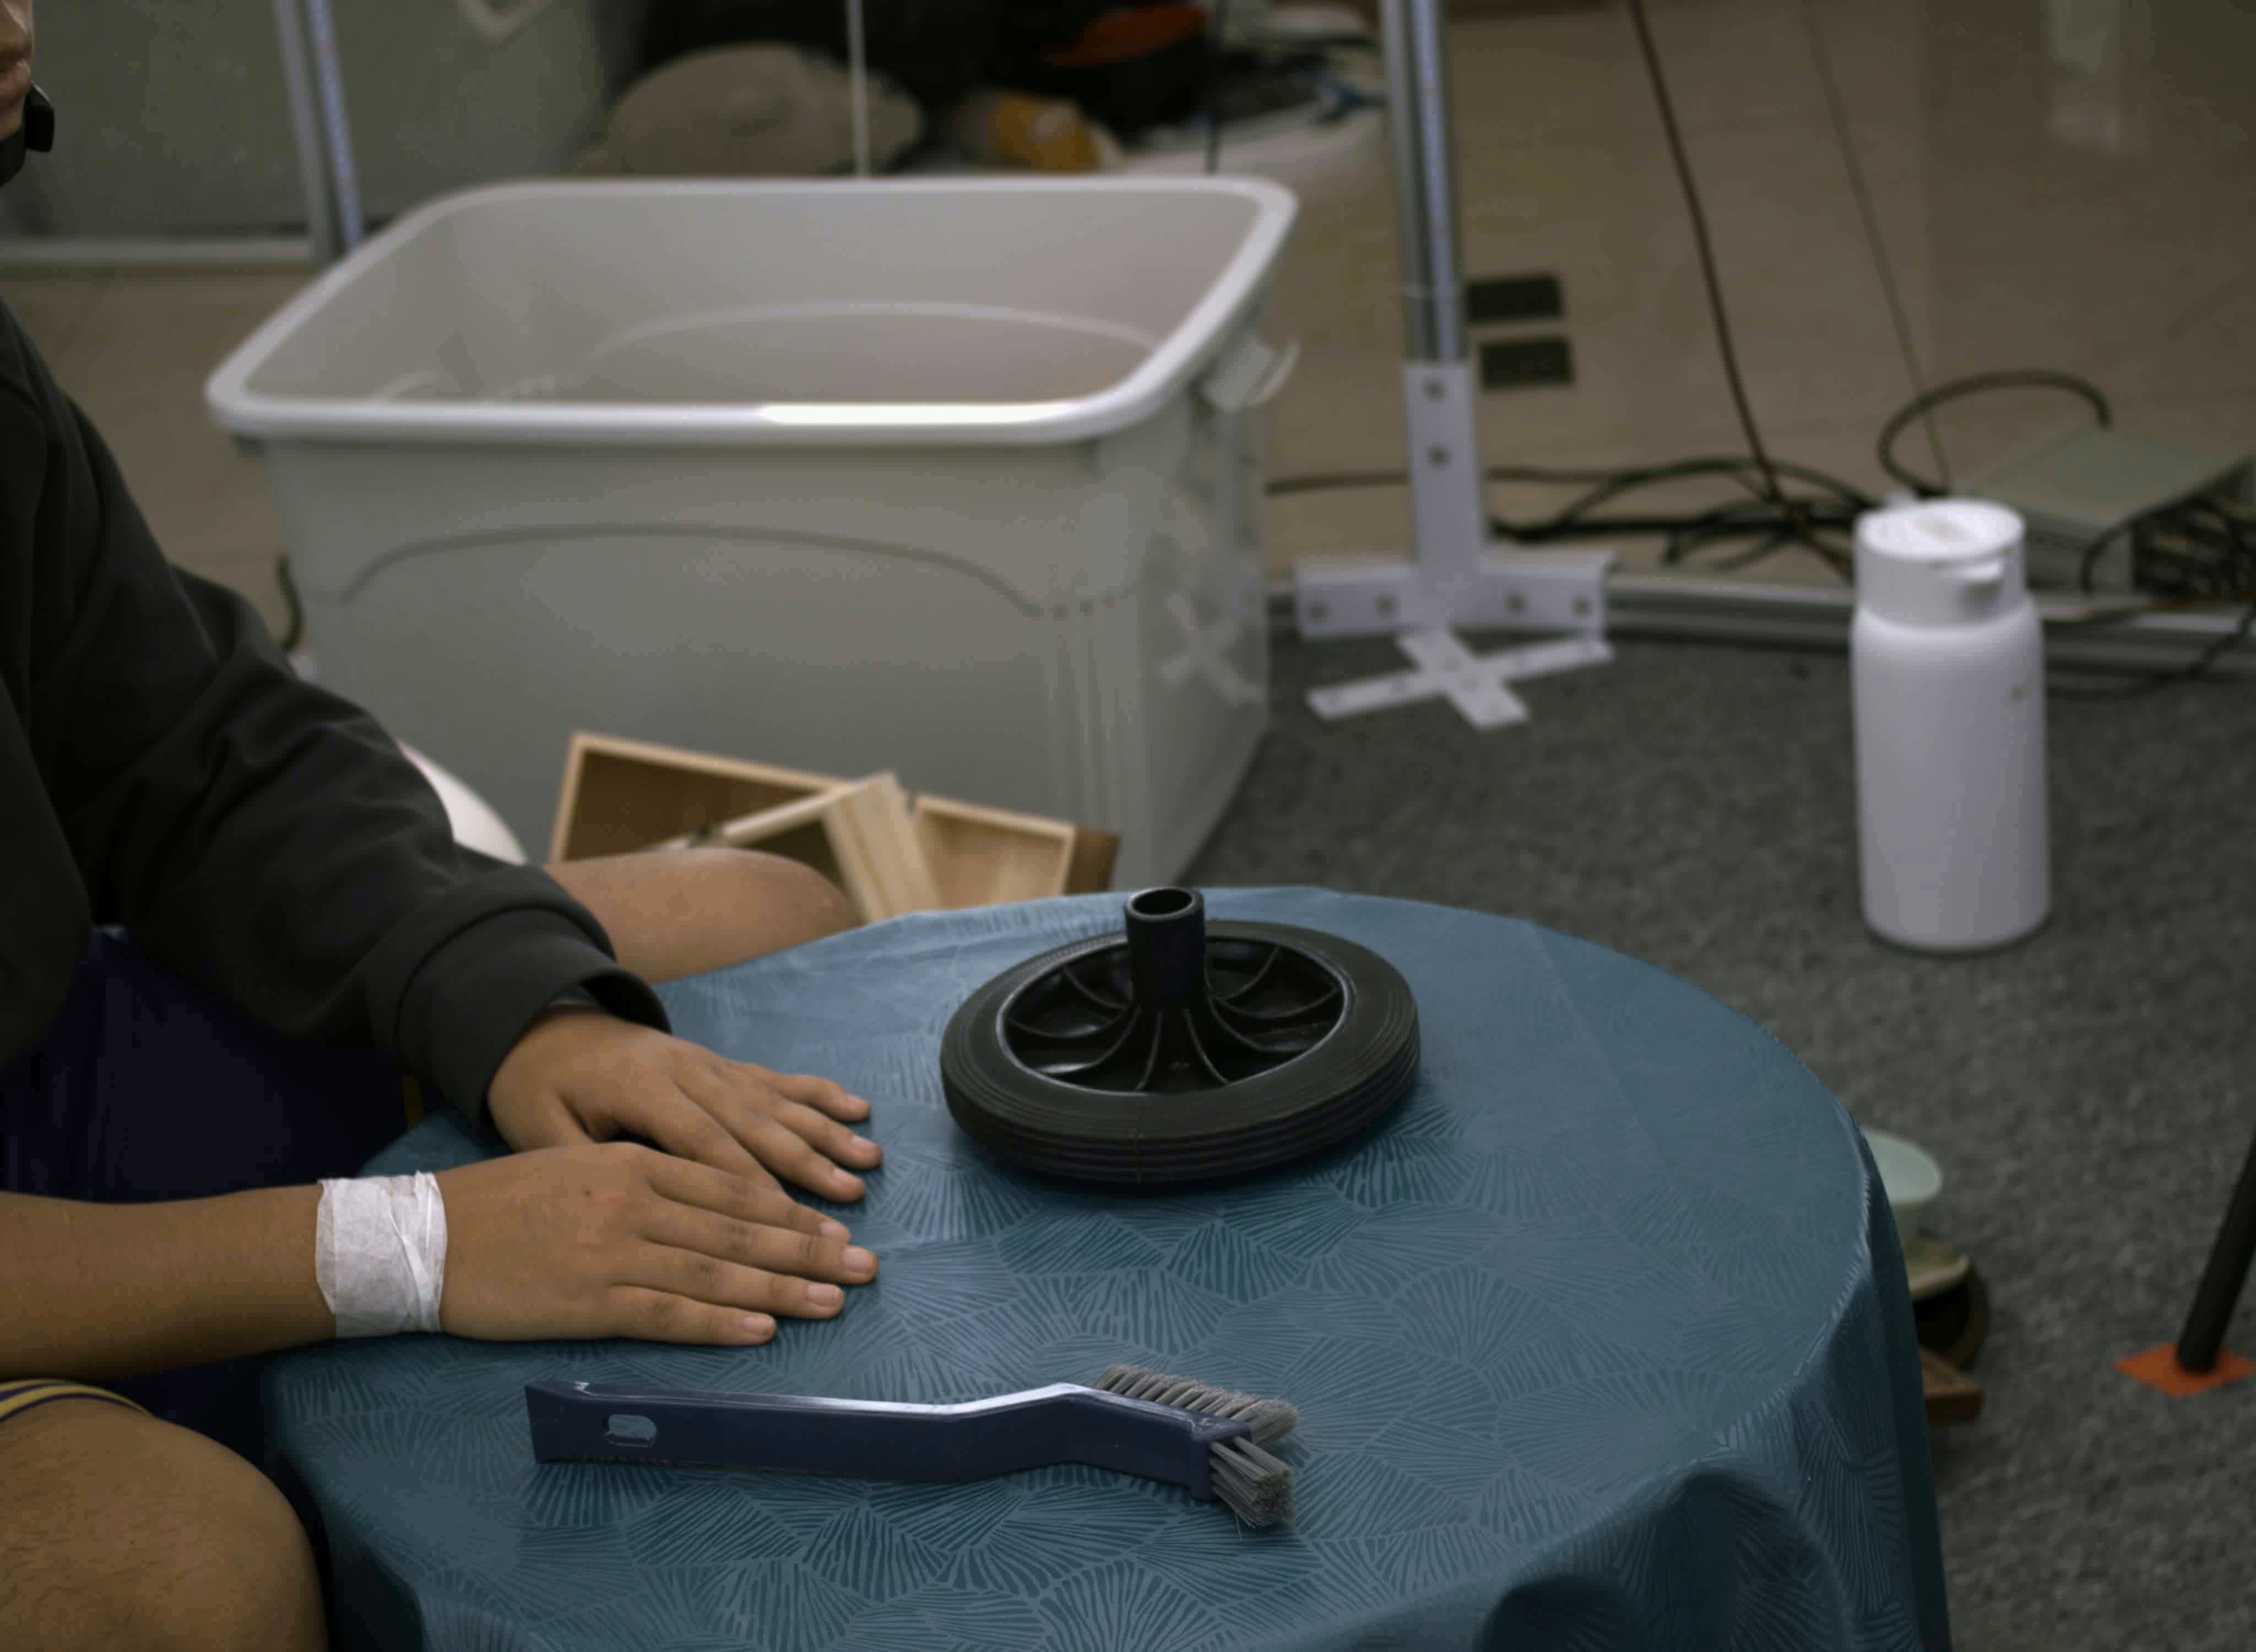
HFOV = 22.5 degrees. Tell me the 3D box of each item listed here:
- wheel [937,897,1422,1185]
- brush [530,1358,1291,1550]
[{"bbox_3d":[0.018,0.069,2.201,0.186,0.080,0.188,-28,32,-37],"label":"wheel"},{"bbox_3d":[-0.080,0.214,1.967,0.273,0.034,0.094,-1,26,9],"label":"brush"}]
